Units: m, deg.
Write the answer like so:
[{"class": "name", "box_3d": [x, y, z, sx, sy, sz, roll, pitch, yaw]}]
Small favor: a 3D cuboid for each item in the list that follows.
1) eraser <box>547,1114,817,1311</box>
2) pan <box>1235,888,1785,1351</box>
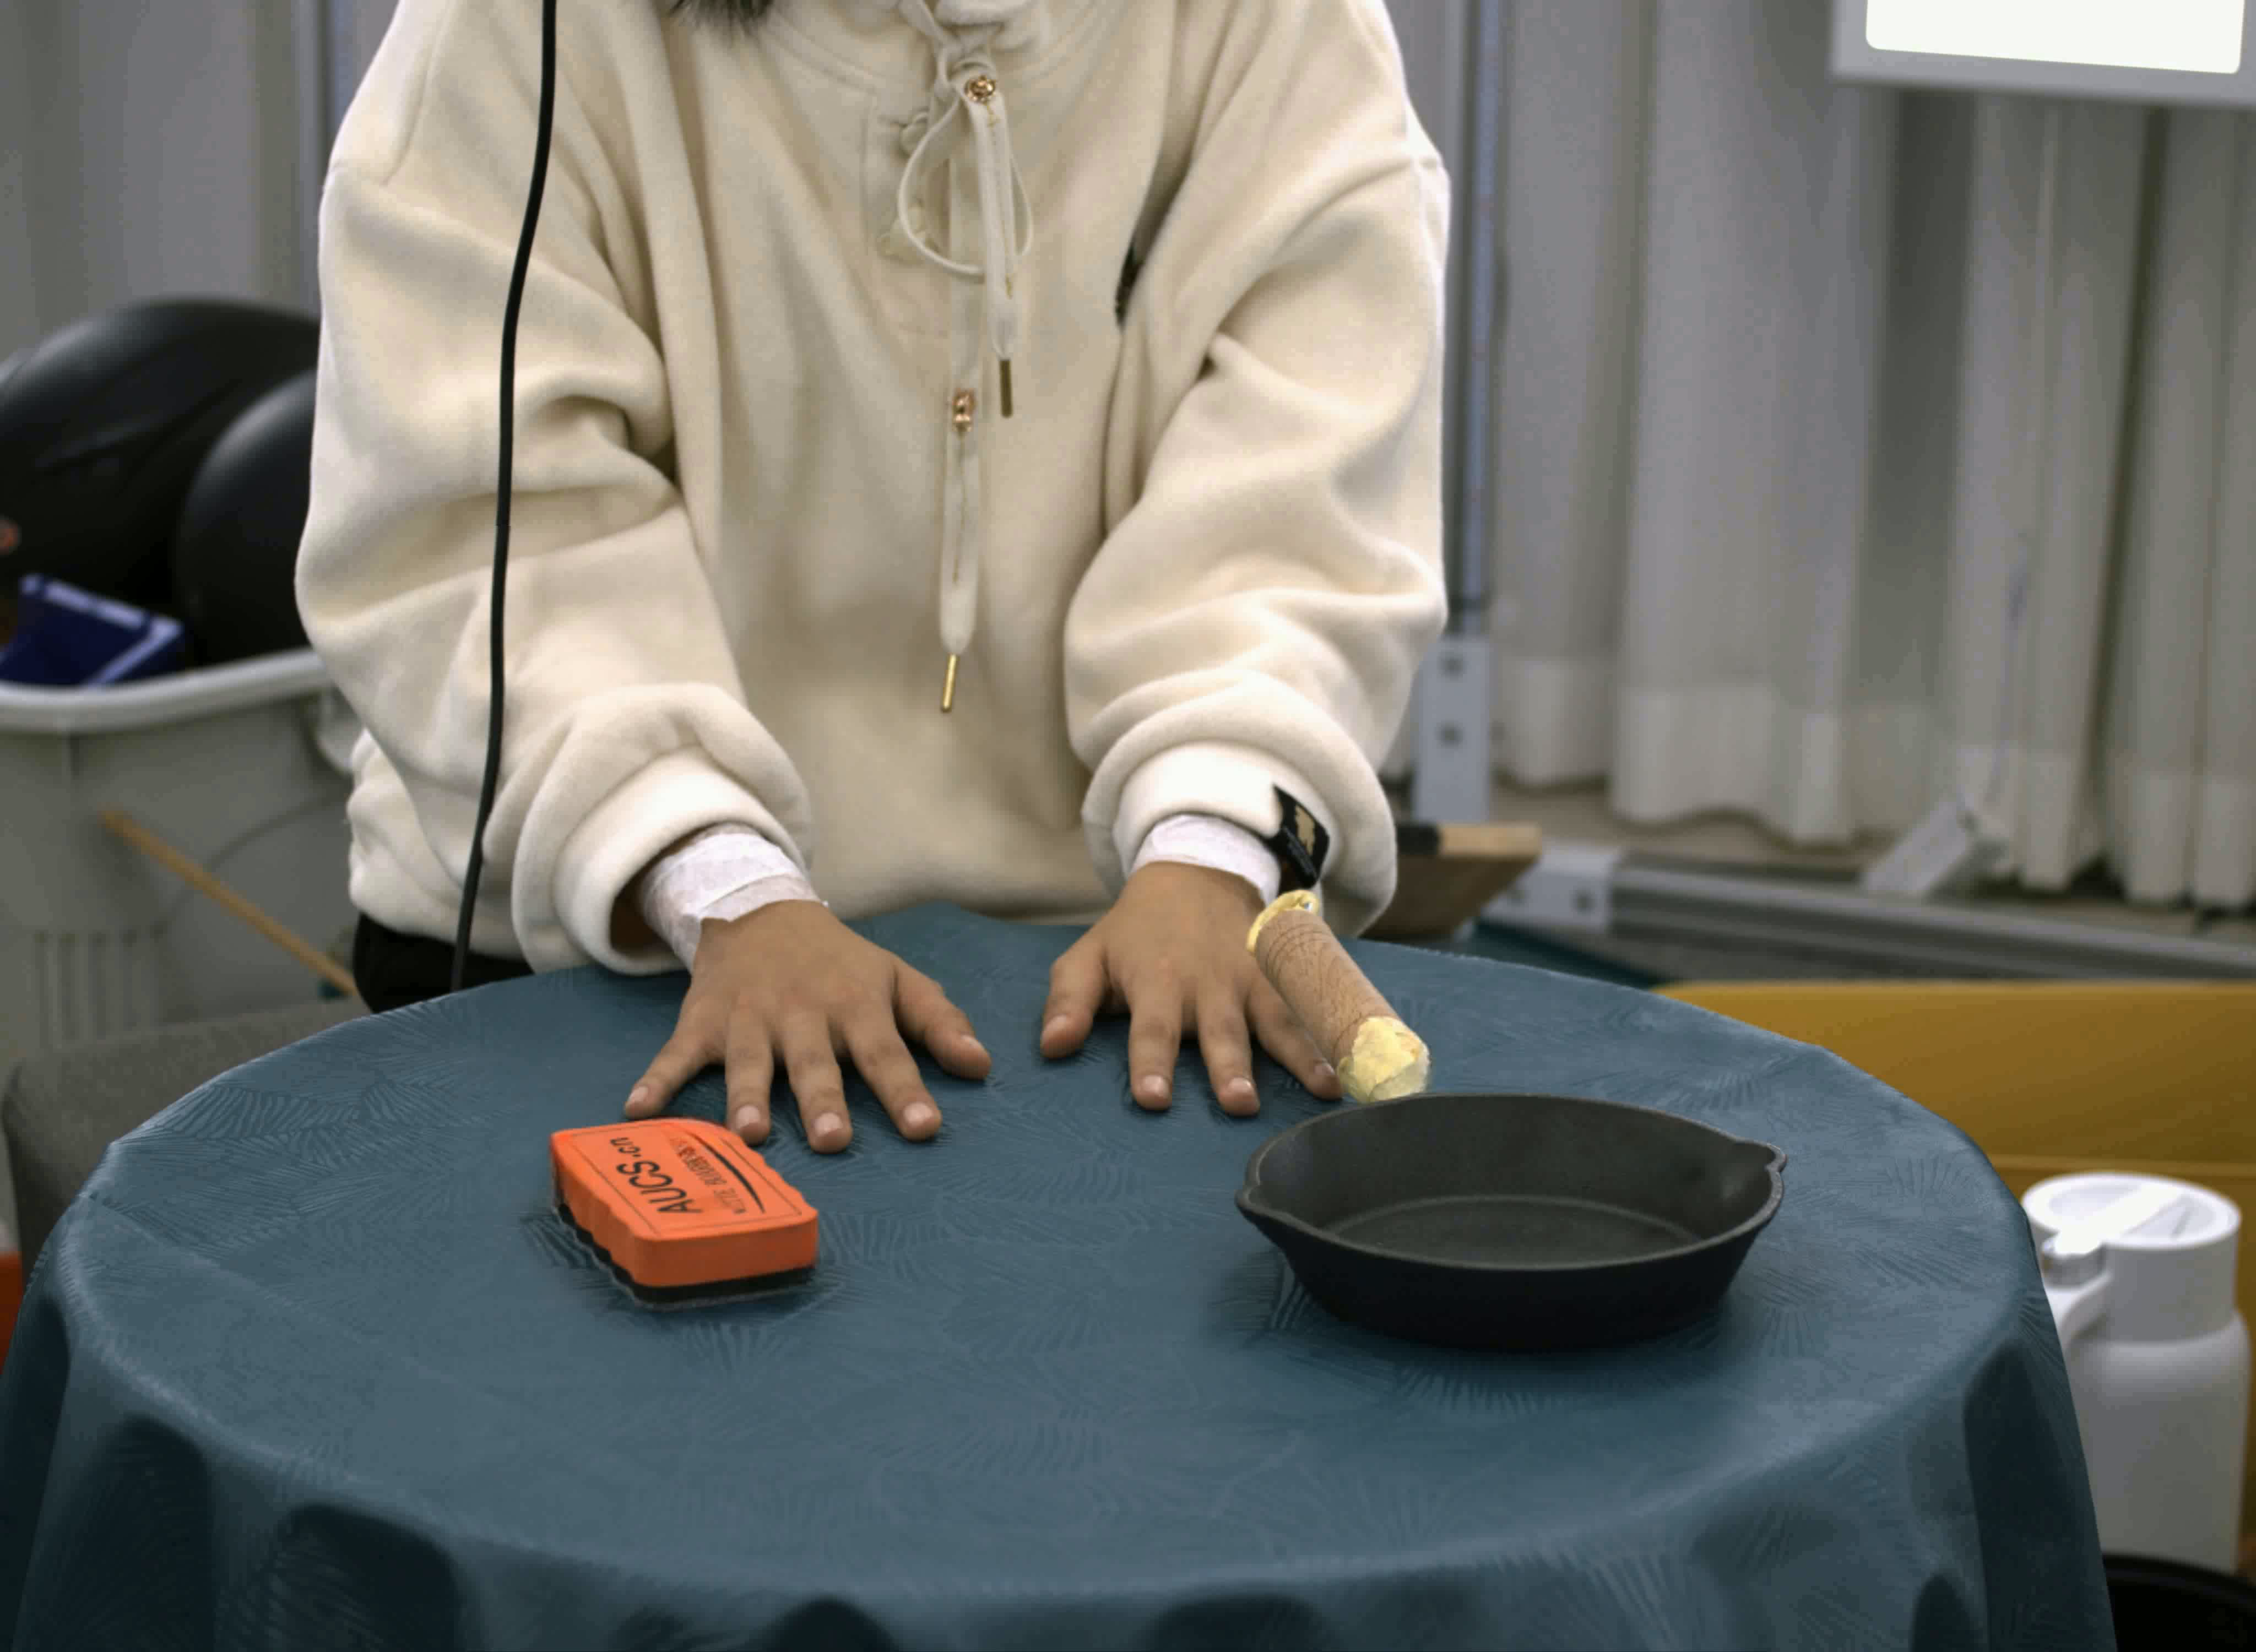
[{"class": "eraser", "box_3d": [-0.134, 0.114, 1.567, 0.059, 0.023, 0.107, -6, 17, -21]}, {"class": "pan", "box_3d": [0.092, 0.087, 1.621, 0.169, 0.050, 0.321, -4, 17, -14]}]
